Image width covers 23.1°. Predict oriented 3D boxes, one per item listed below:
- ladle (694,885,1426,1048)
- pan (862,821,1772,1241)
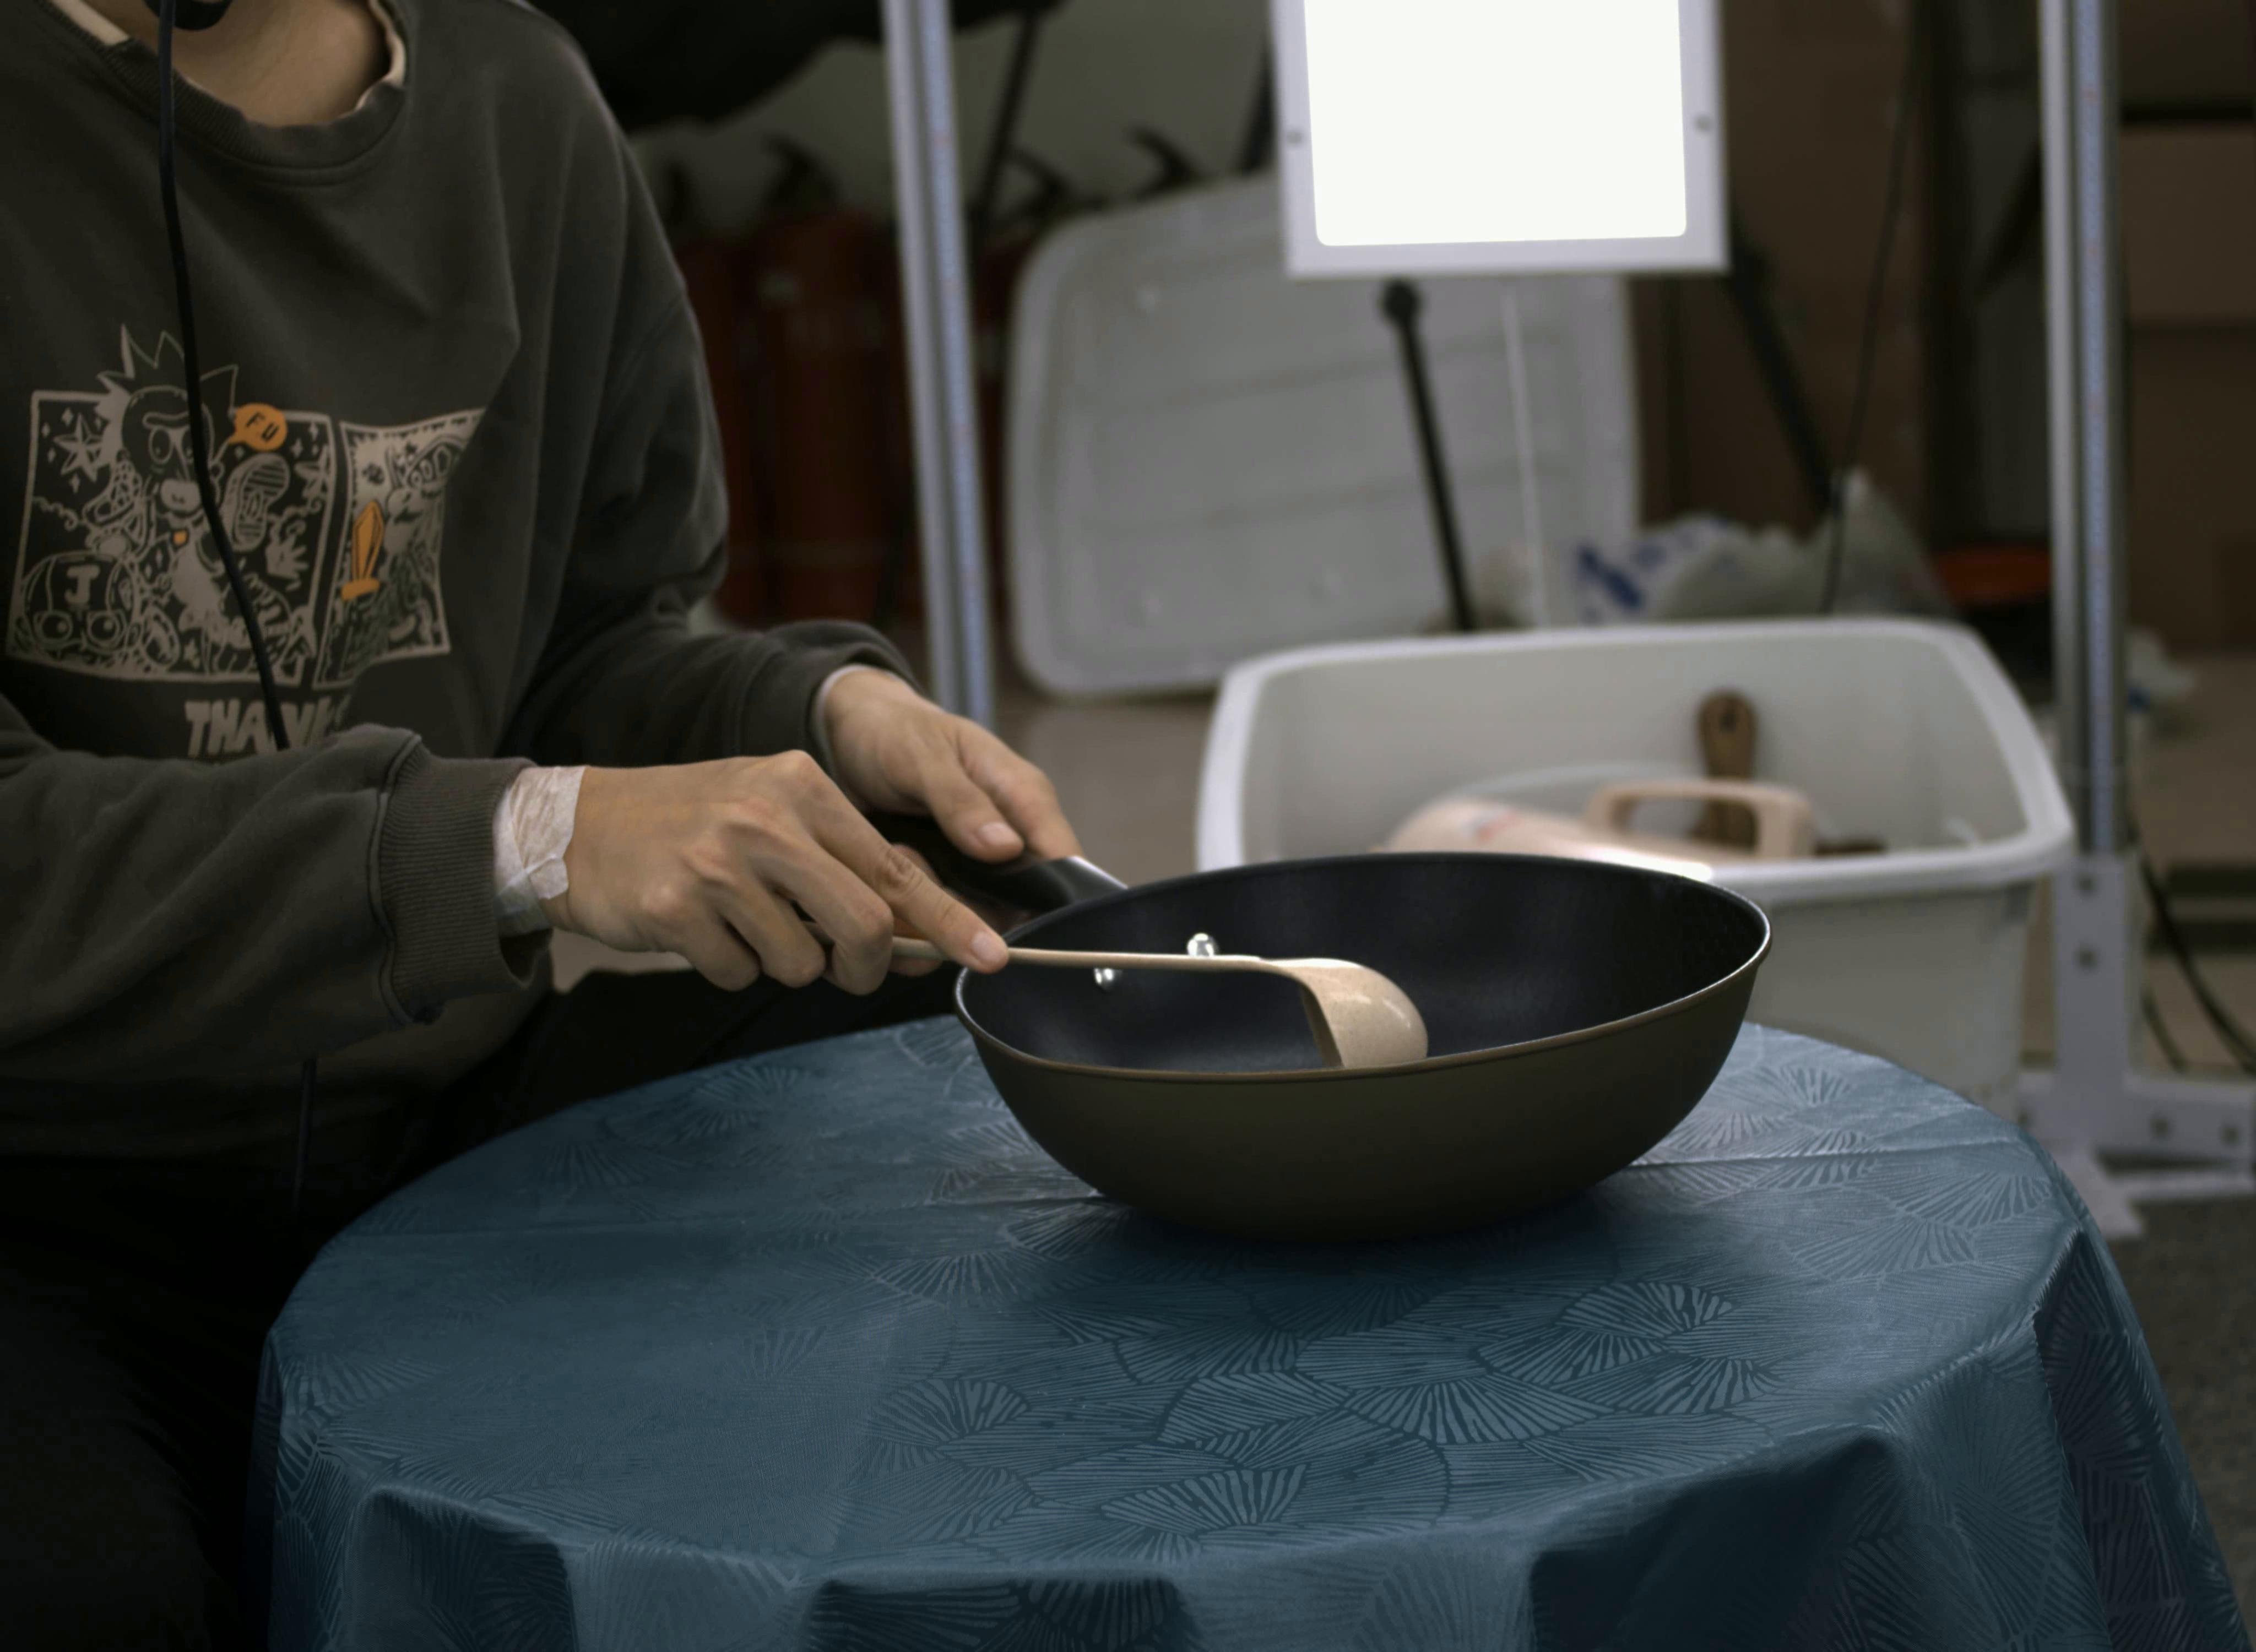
[{"bbox_3d":[-0.025,0.070,1.876,0.253,0.073,0.072,6,6,0],"label":"ladle"},{"bbox_3d":[0.030,0.067,1.953,0.281,0.087,0.472,-14,15,-31],"label":"pan"}]
